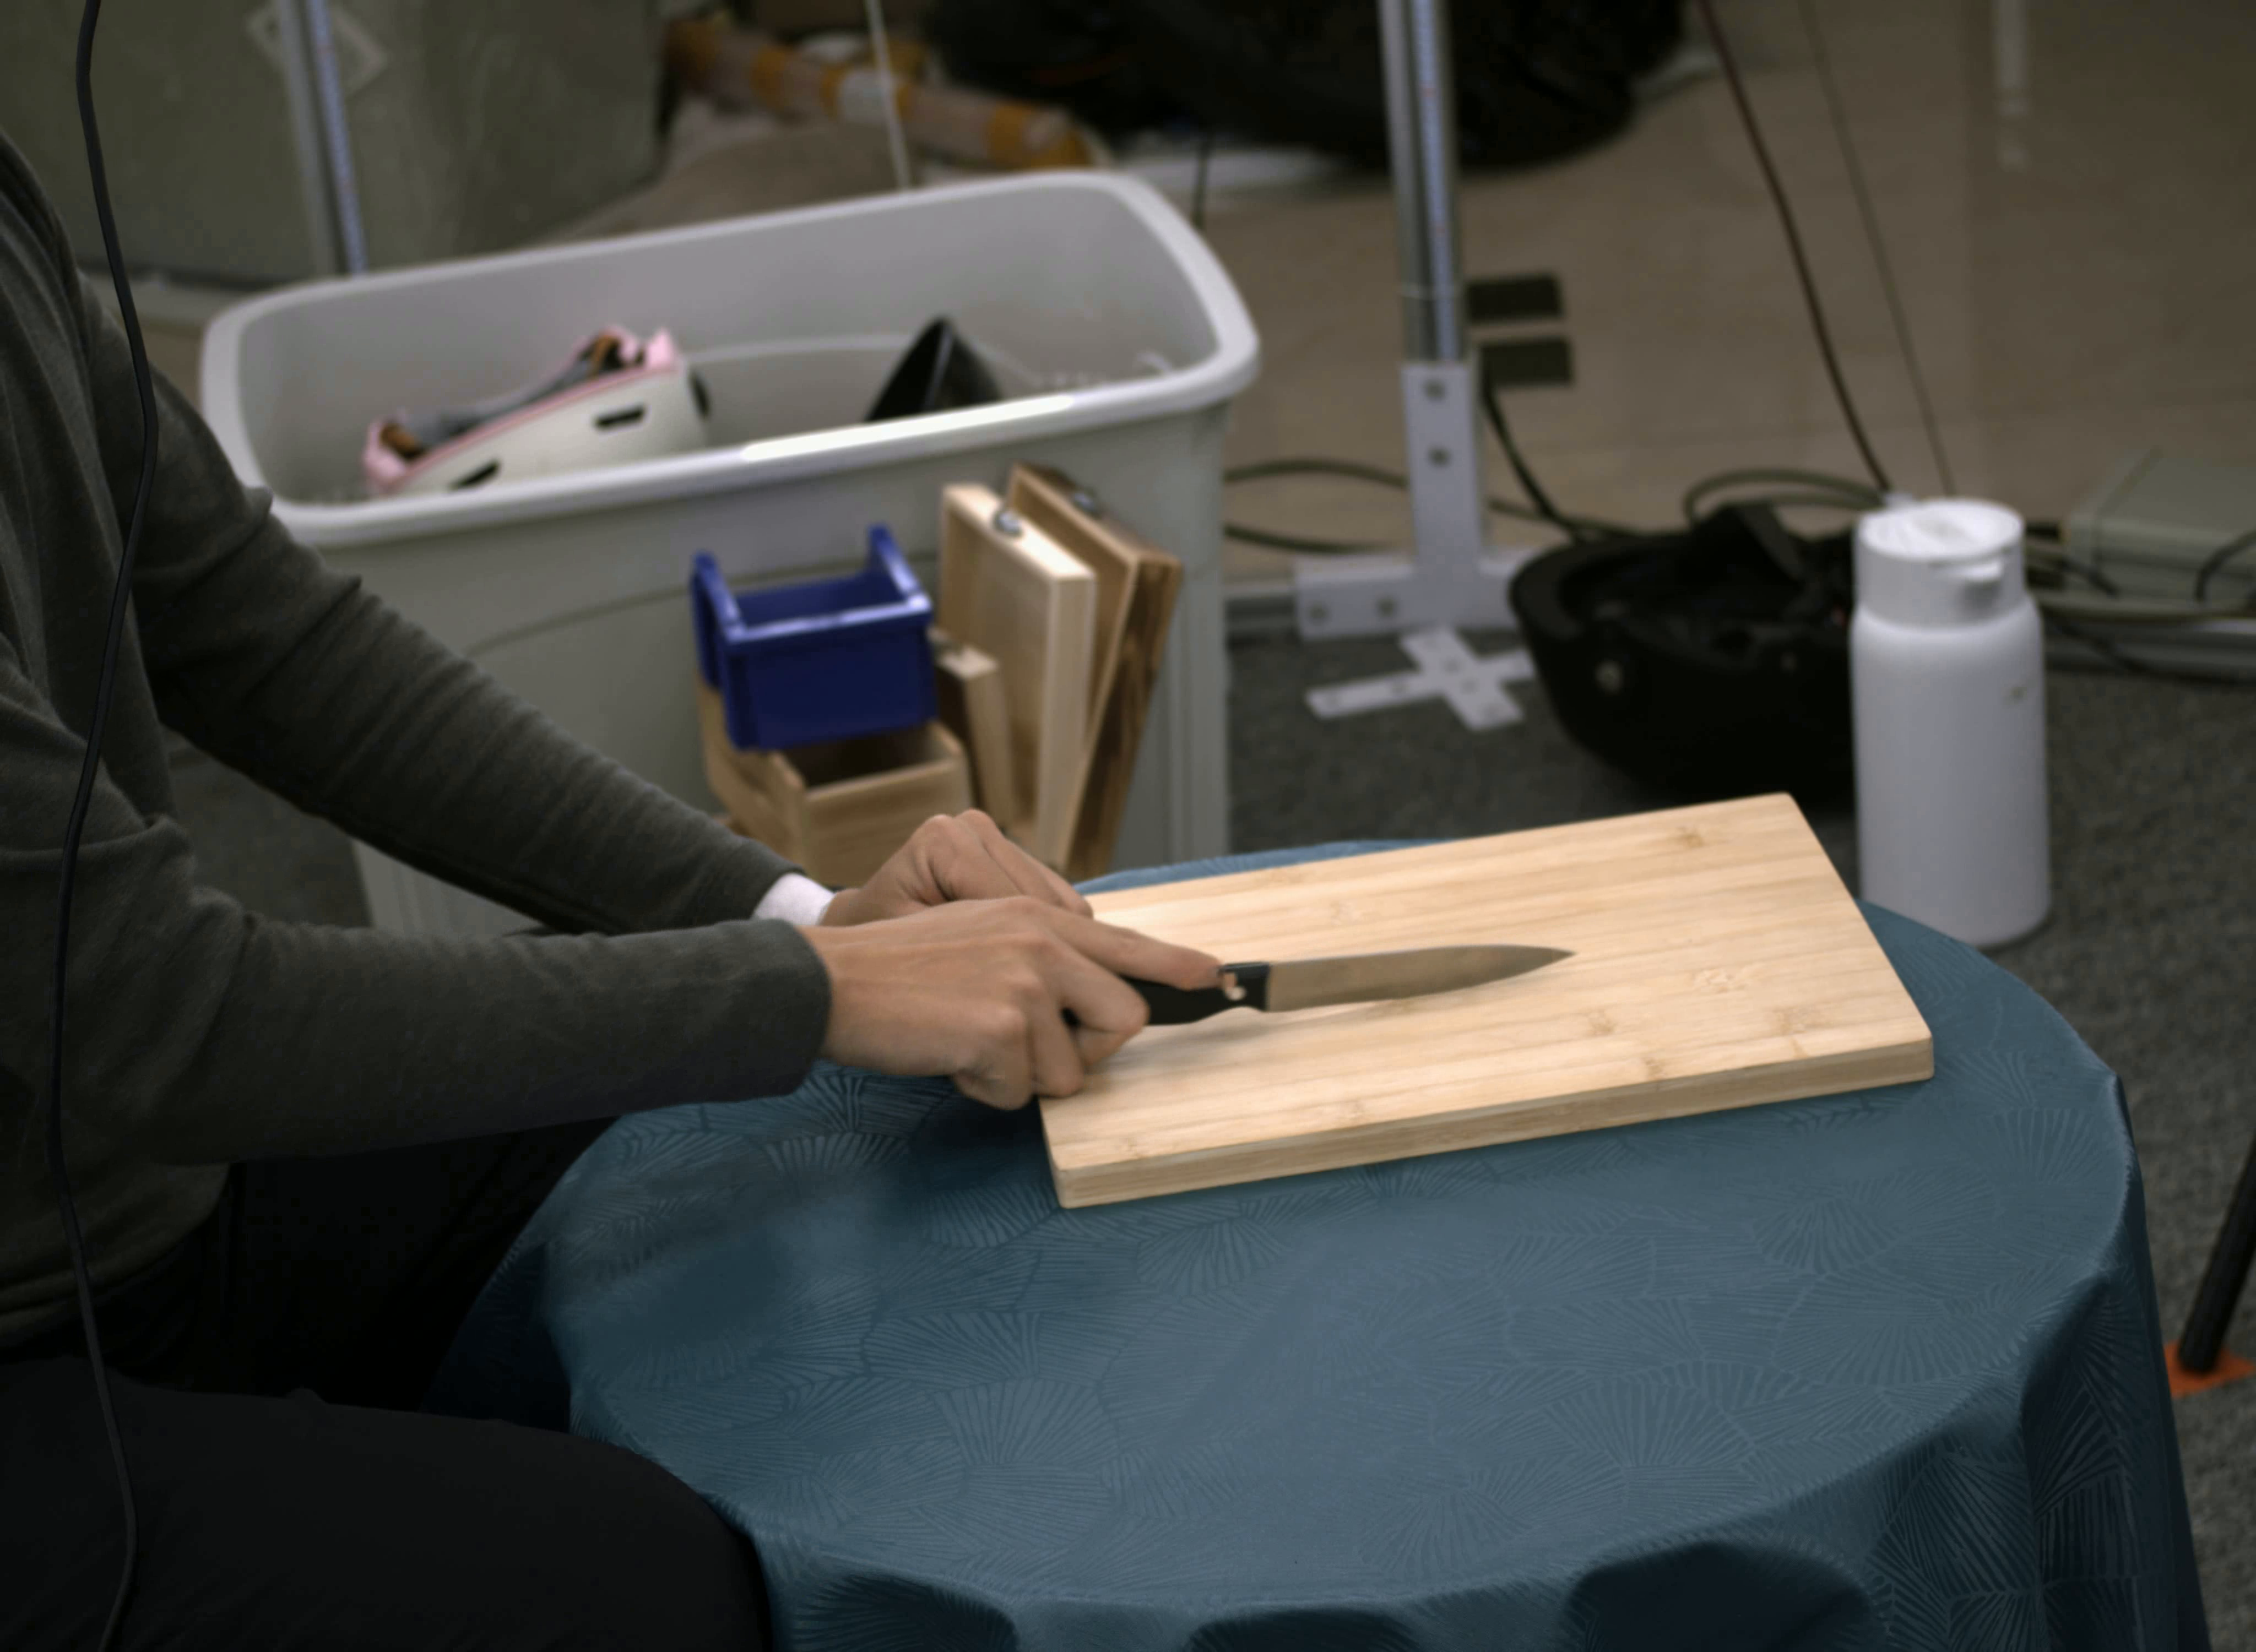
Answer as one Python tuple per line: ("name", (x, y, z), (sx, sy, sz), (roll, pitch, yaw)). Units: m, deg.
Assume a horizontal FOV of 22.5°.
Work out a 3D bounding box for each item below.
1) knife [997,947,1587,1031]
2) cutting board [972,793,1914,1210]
("knife", (0.065, 0.060, 2.220), (0.238, 0.025, 0.016), (-4, 27, -11))
("cutting board", (0.120, 0.067, 2.259), (0.348, 0.024, 0.247), (-9, 24, -5))
